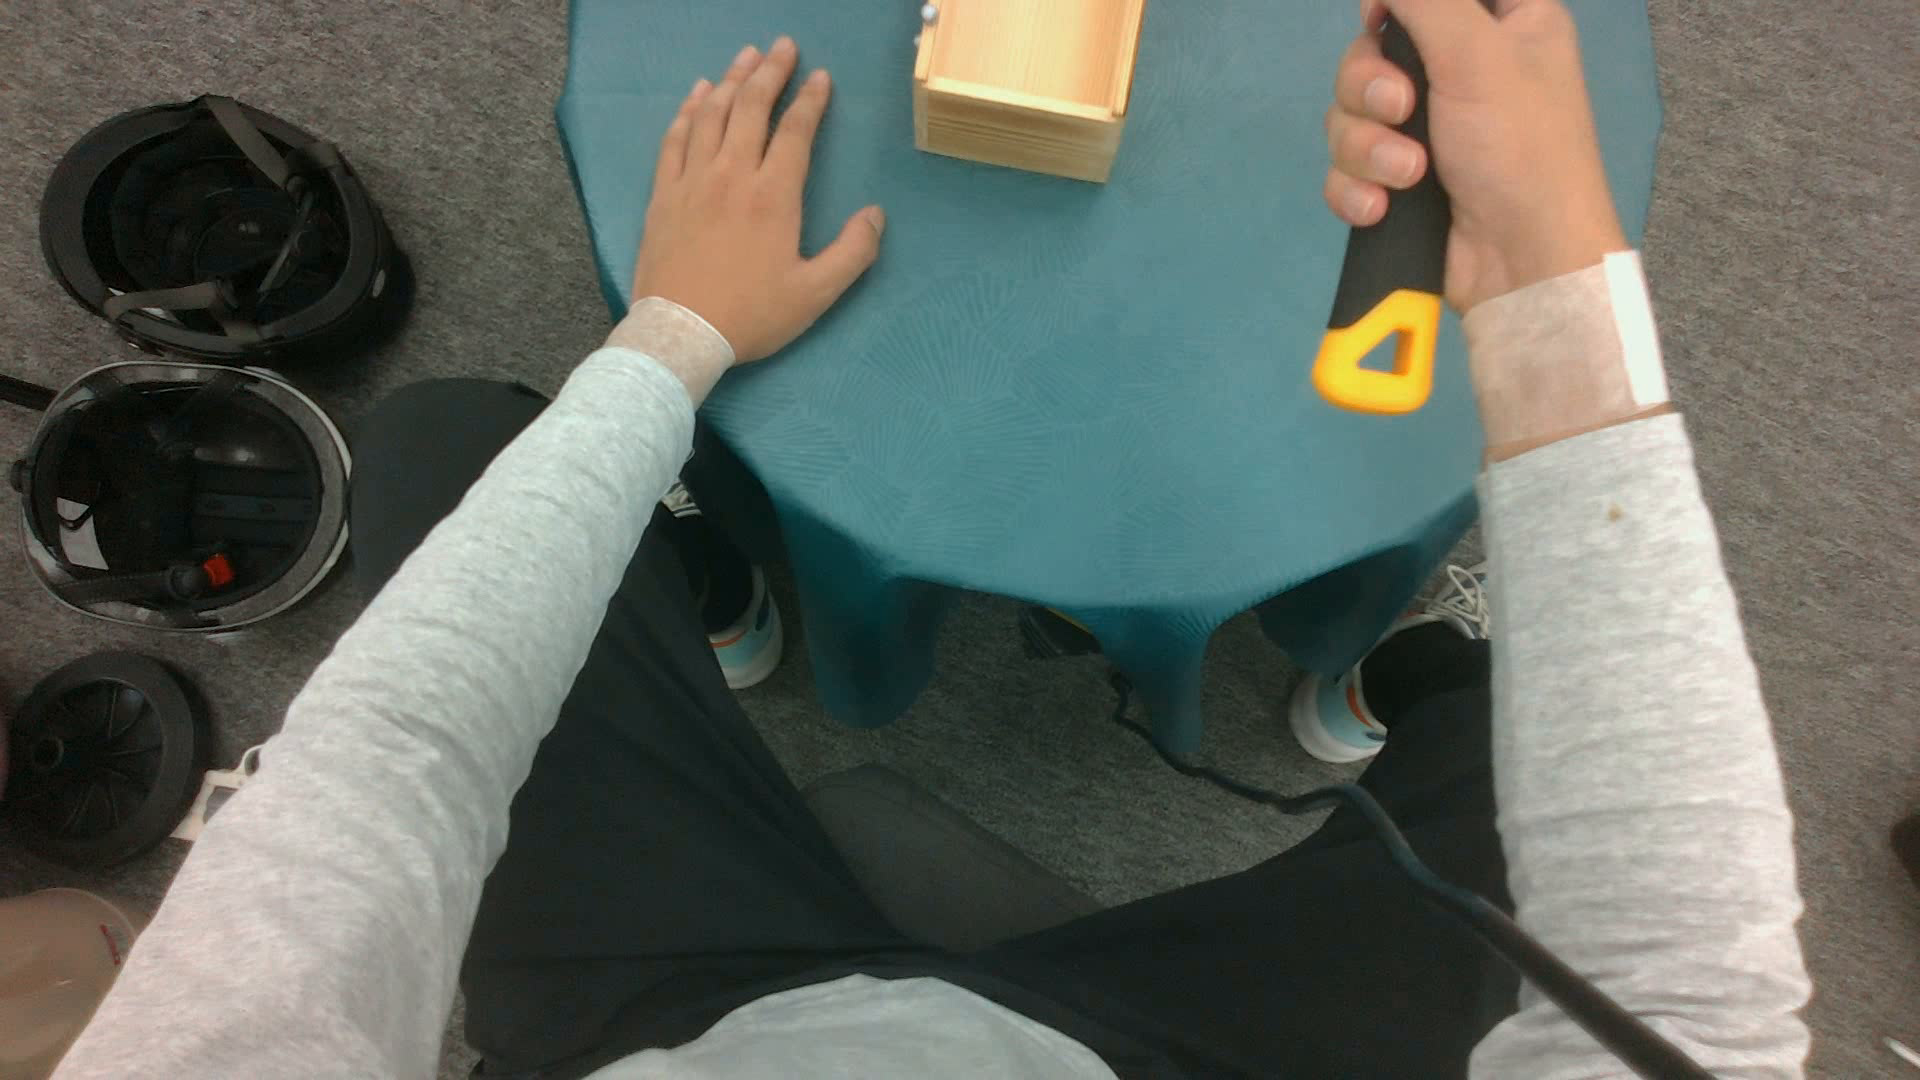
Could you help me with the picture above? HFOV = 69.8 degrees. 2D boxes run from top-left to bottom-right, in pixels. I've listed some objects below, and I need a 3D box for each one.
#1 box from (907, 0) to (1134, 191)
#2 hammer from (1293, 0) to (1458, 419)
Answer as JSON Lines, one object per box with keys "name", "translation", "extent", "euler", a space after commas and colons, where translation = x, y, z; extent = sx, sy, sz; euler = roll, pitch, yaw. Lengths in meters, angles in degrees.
{"name": "box", "translation": [0.041, -0.308, 0.740], "extent": [0.107, 0.080, 0.212], "euler": [9, 81, 0]}
{"name": "hammer", "translation": [0.169, -0.213, 0.508], "extent": [0.131, 0.032, 0.338], "euler": [8, 93, -4]}
